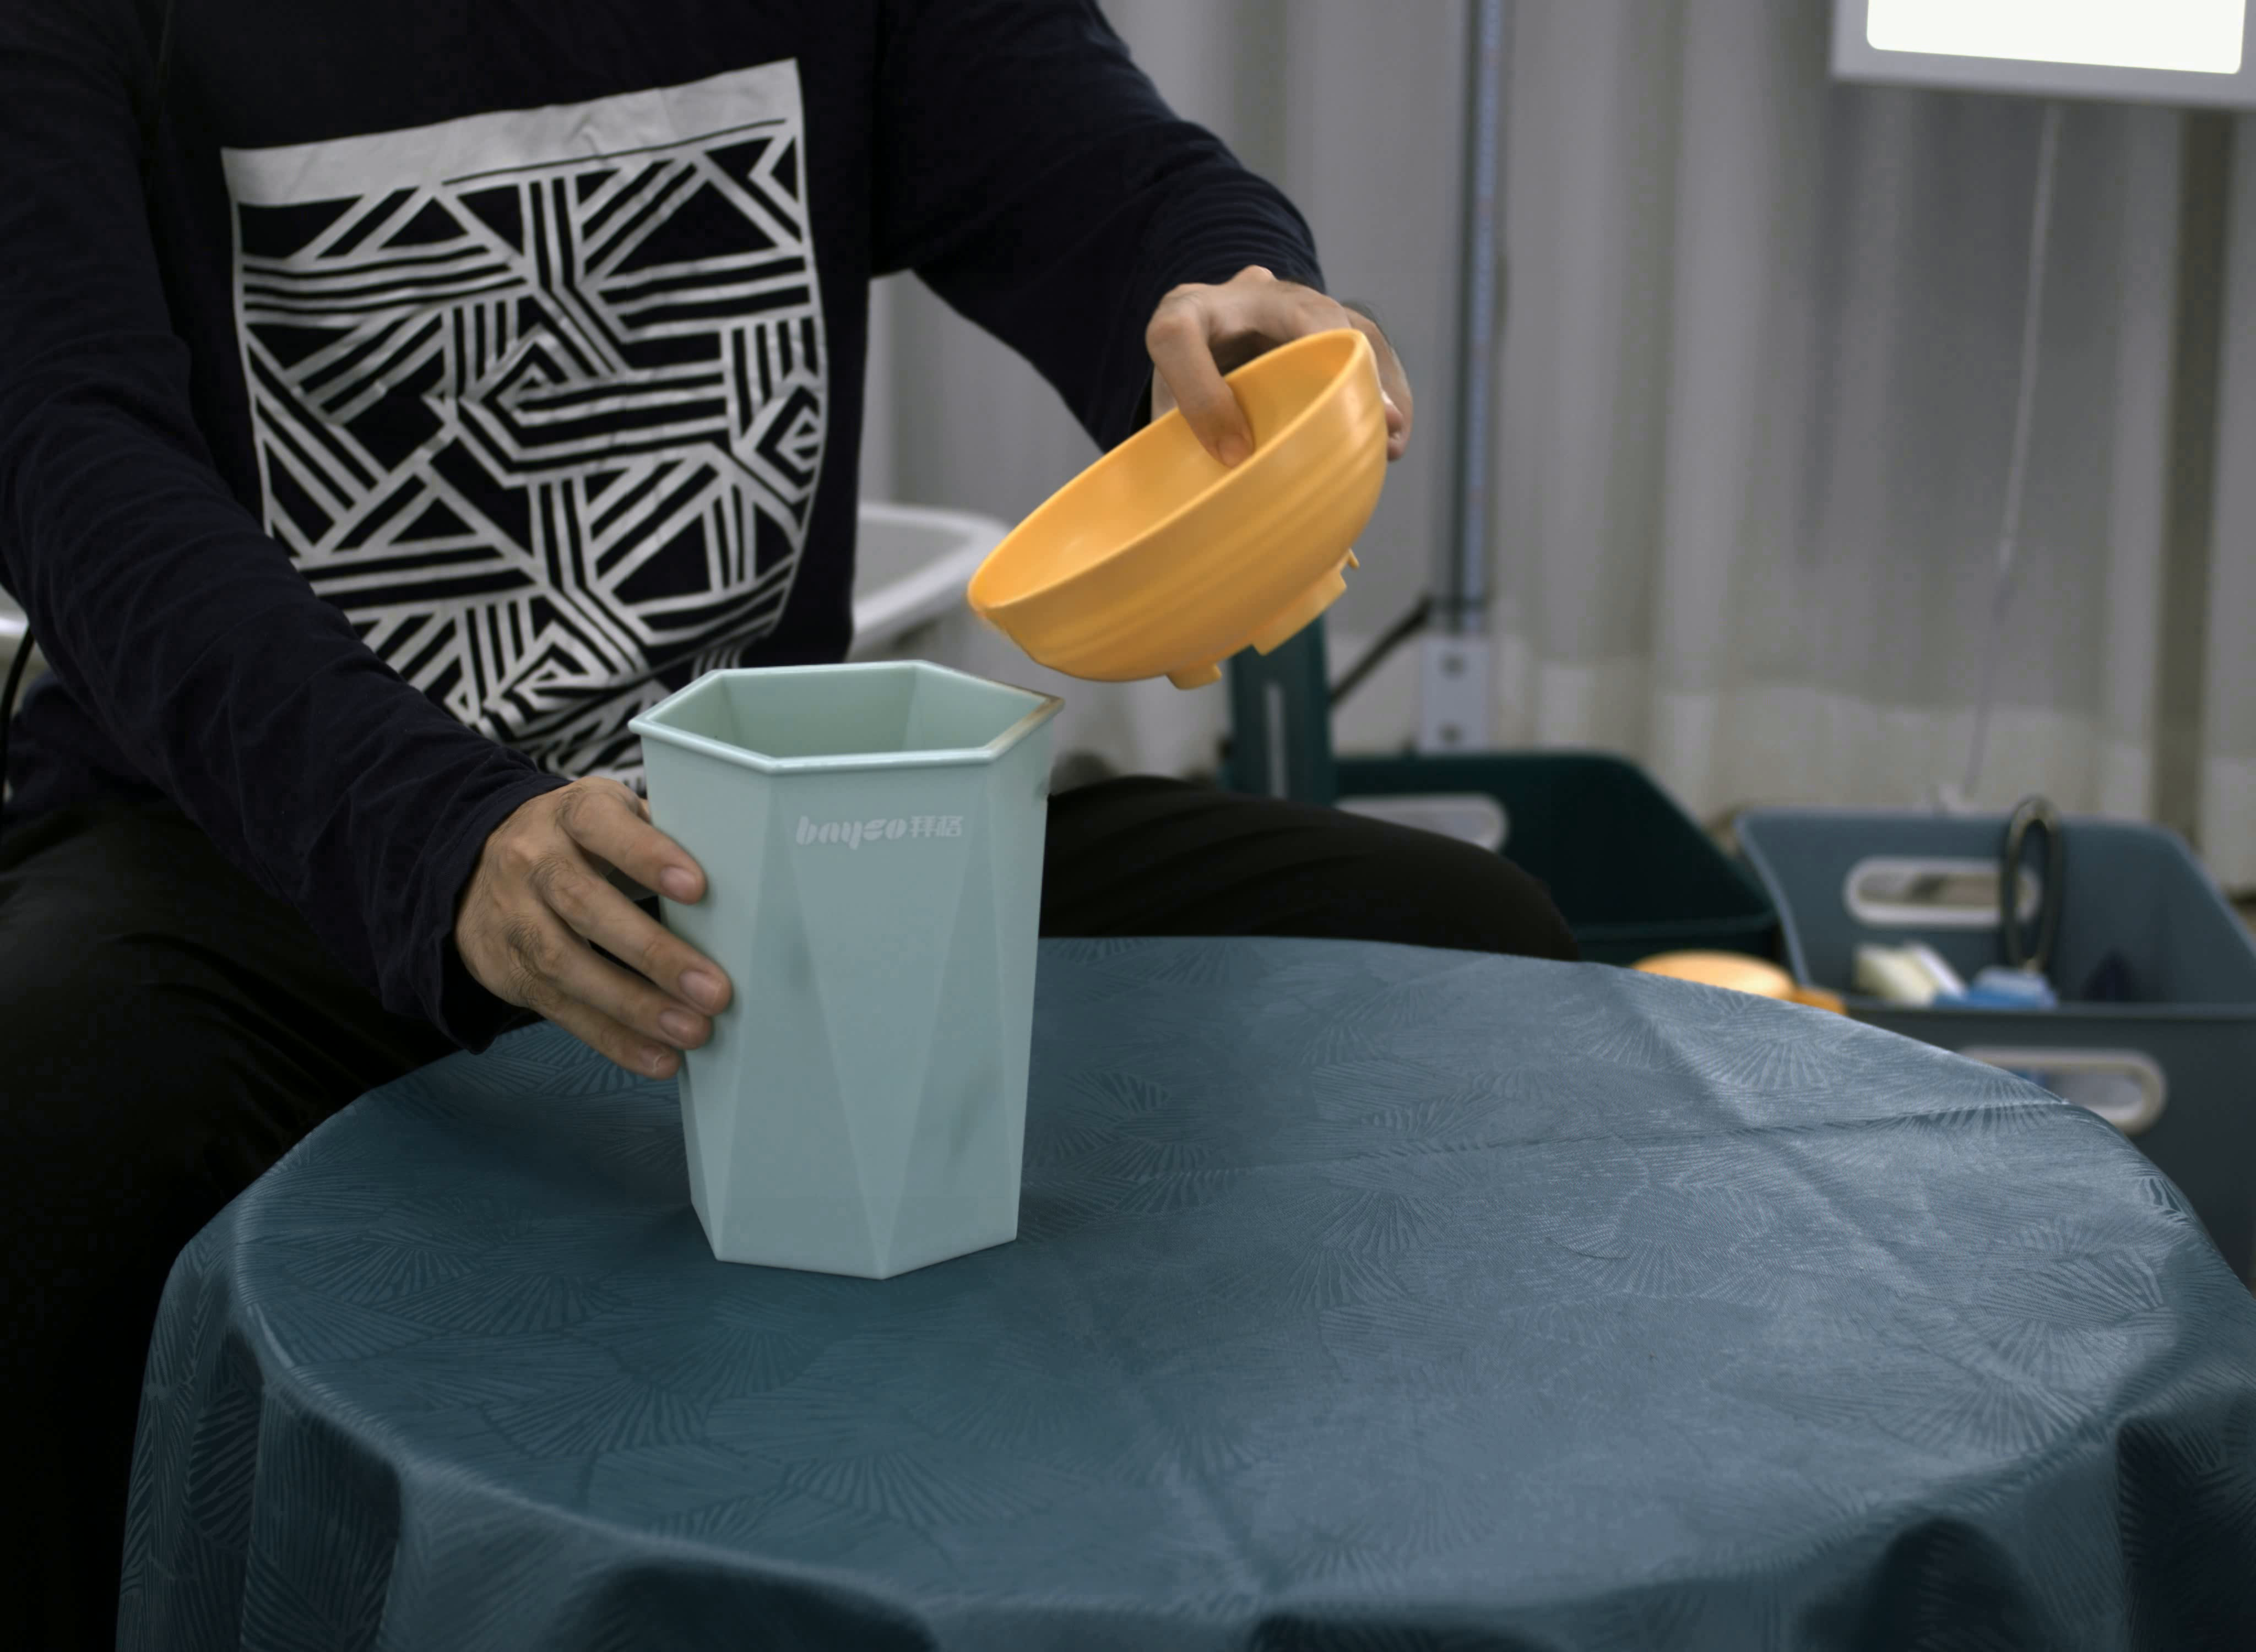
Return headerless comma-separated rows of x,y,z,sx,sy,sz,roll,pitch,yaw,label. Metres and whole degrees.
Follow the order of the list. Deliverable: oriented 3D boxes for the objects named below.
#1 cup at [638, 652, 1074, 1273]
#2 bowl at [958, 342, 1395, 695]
-0.080,0.040,1.571,0.131,0.164,0.114,-3,16,-14,cup
0.026,-0.081,1.567,0.145,0.060,0.144,-30,14,9,bowl
